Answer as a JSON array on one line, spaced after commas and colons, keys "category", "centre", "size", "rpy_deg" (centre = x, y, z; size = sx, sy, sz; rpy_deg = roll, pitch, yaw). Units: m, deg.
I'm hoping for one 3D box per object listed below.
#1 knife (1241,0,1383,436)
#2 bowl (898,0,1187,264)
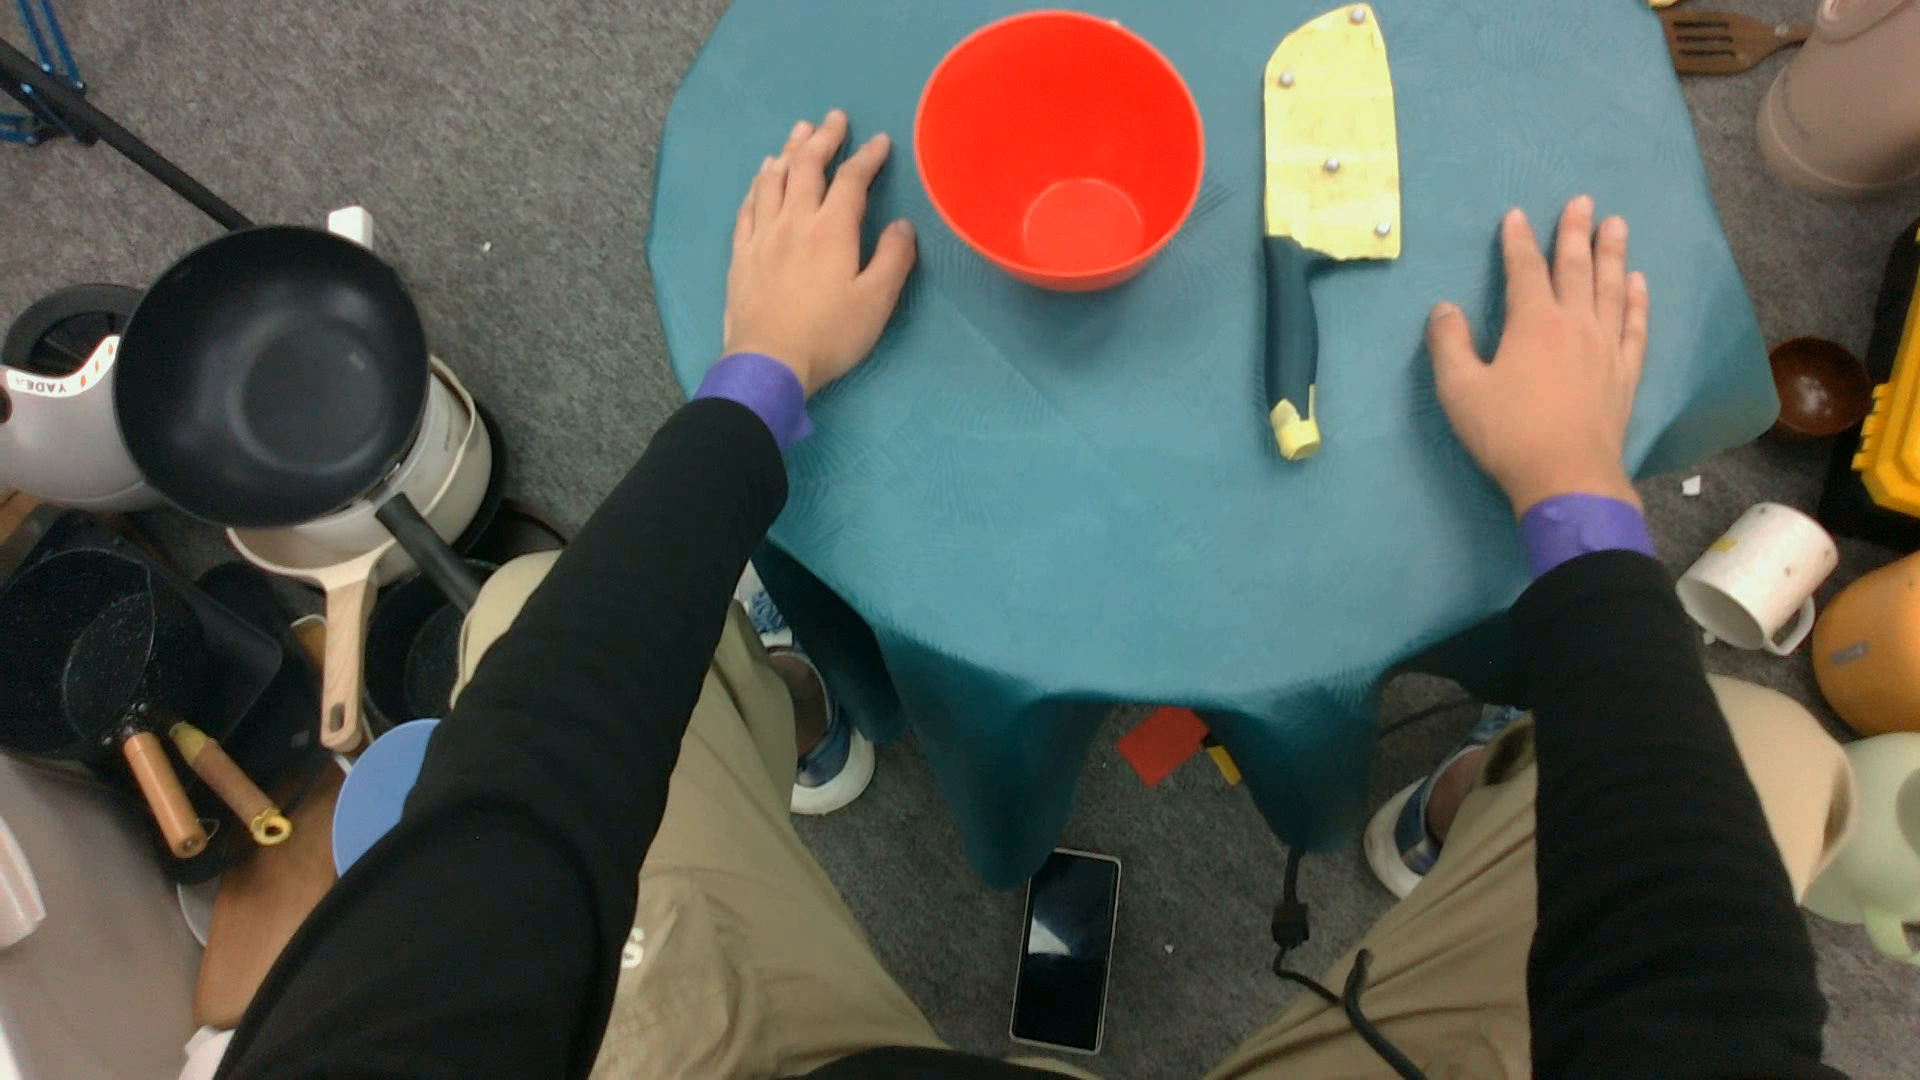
[{"category": "knife", "centre": [0.195, -0.194, 0.770], "size": [0.081, 0.027, 0.290], "rpy_deg": [3, 74, 8]}, {"category": "bowl", "centre": [0.046, -0.208, 0.742], "size": [0.148, 0.104, 0.148], "rpy_deg": [-1, 74, 4]}]
